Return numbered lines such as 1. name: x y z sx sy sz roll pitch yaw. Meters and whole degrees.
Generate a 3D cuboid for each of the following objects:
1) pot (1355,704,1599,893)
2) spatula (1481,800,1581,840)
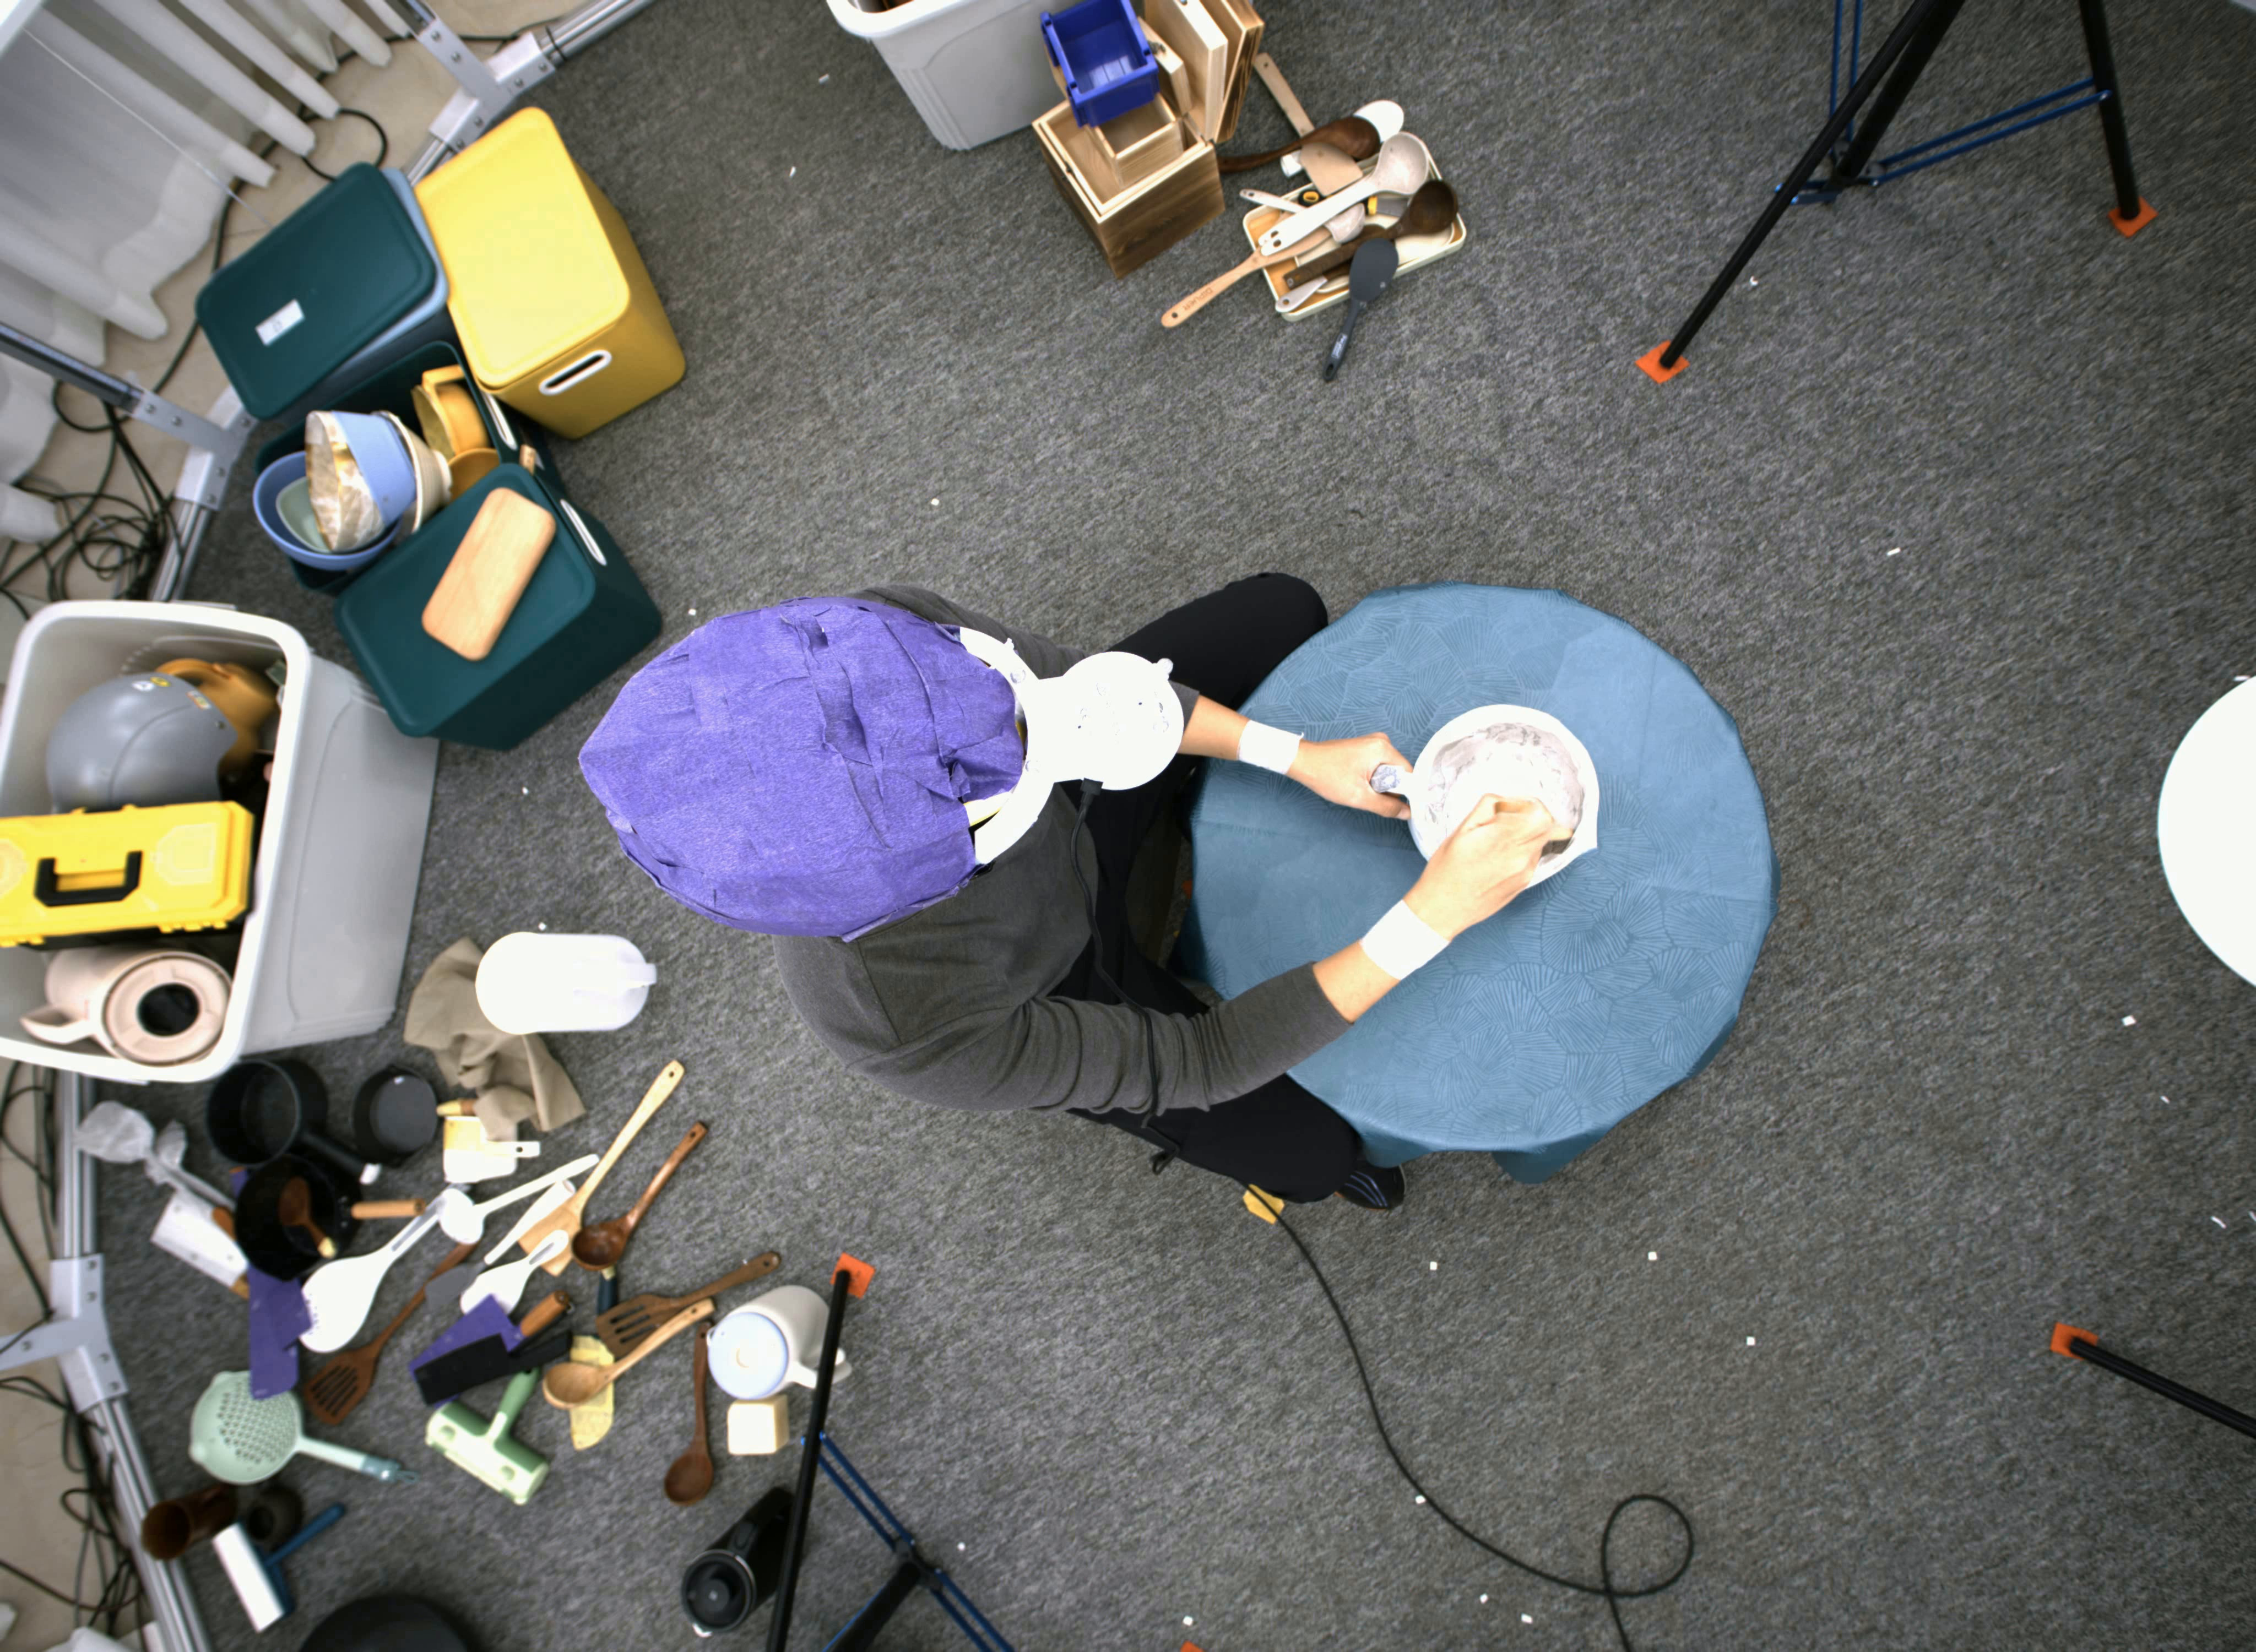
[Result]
1. pot: 0.344 -0.029 1.383 0.234 0.137 0.178 9 87 11
2. spatula: 0.345 -0.007 1.194 0.096 0.390 0.018 -5 84 18
